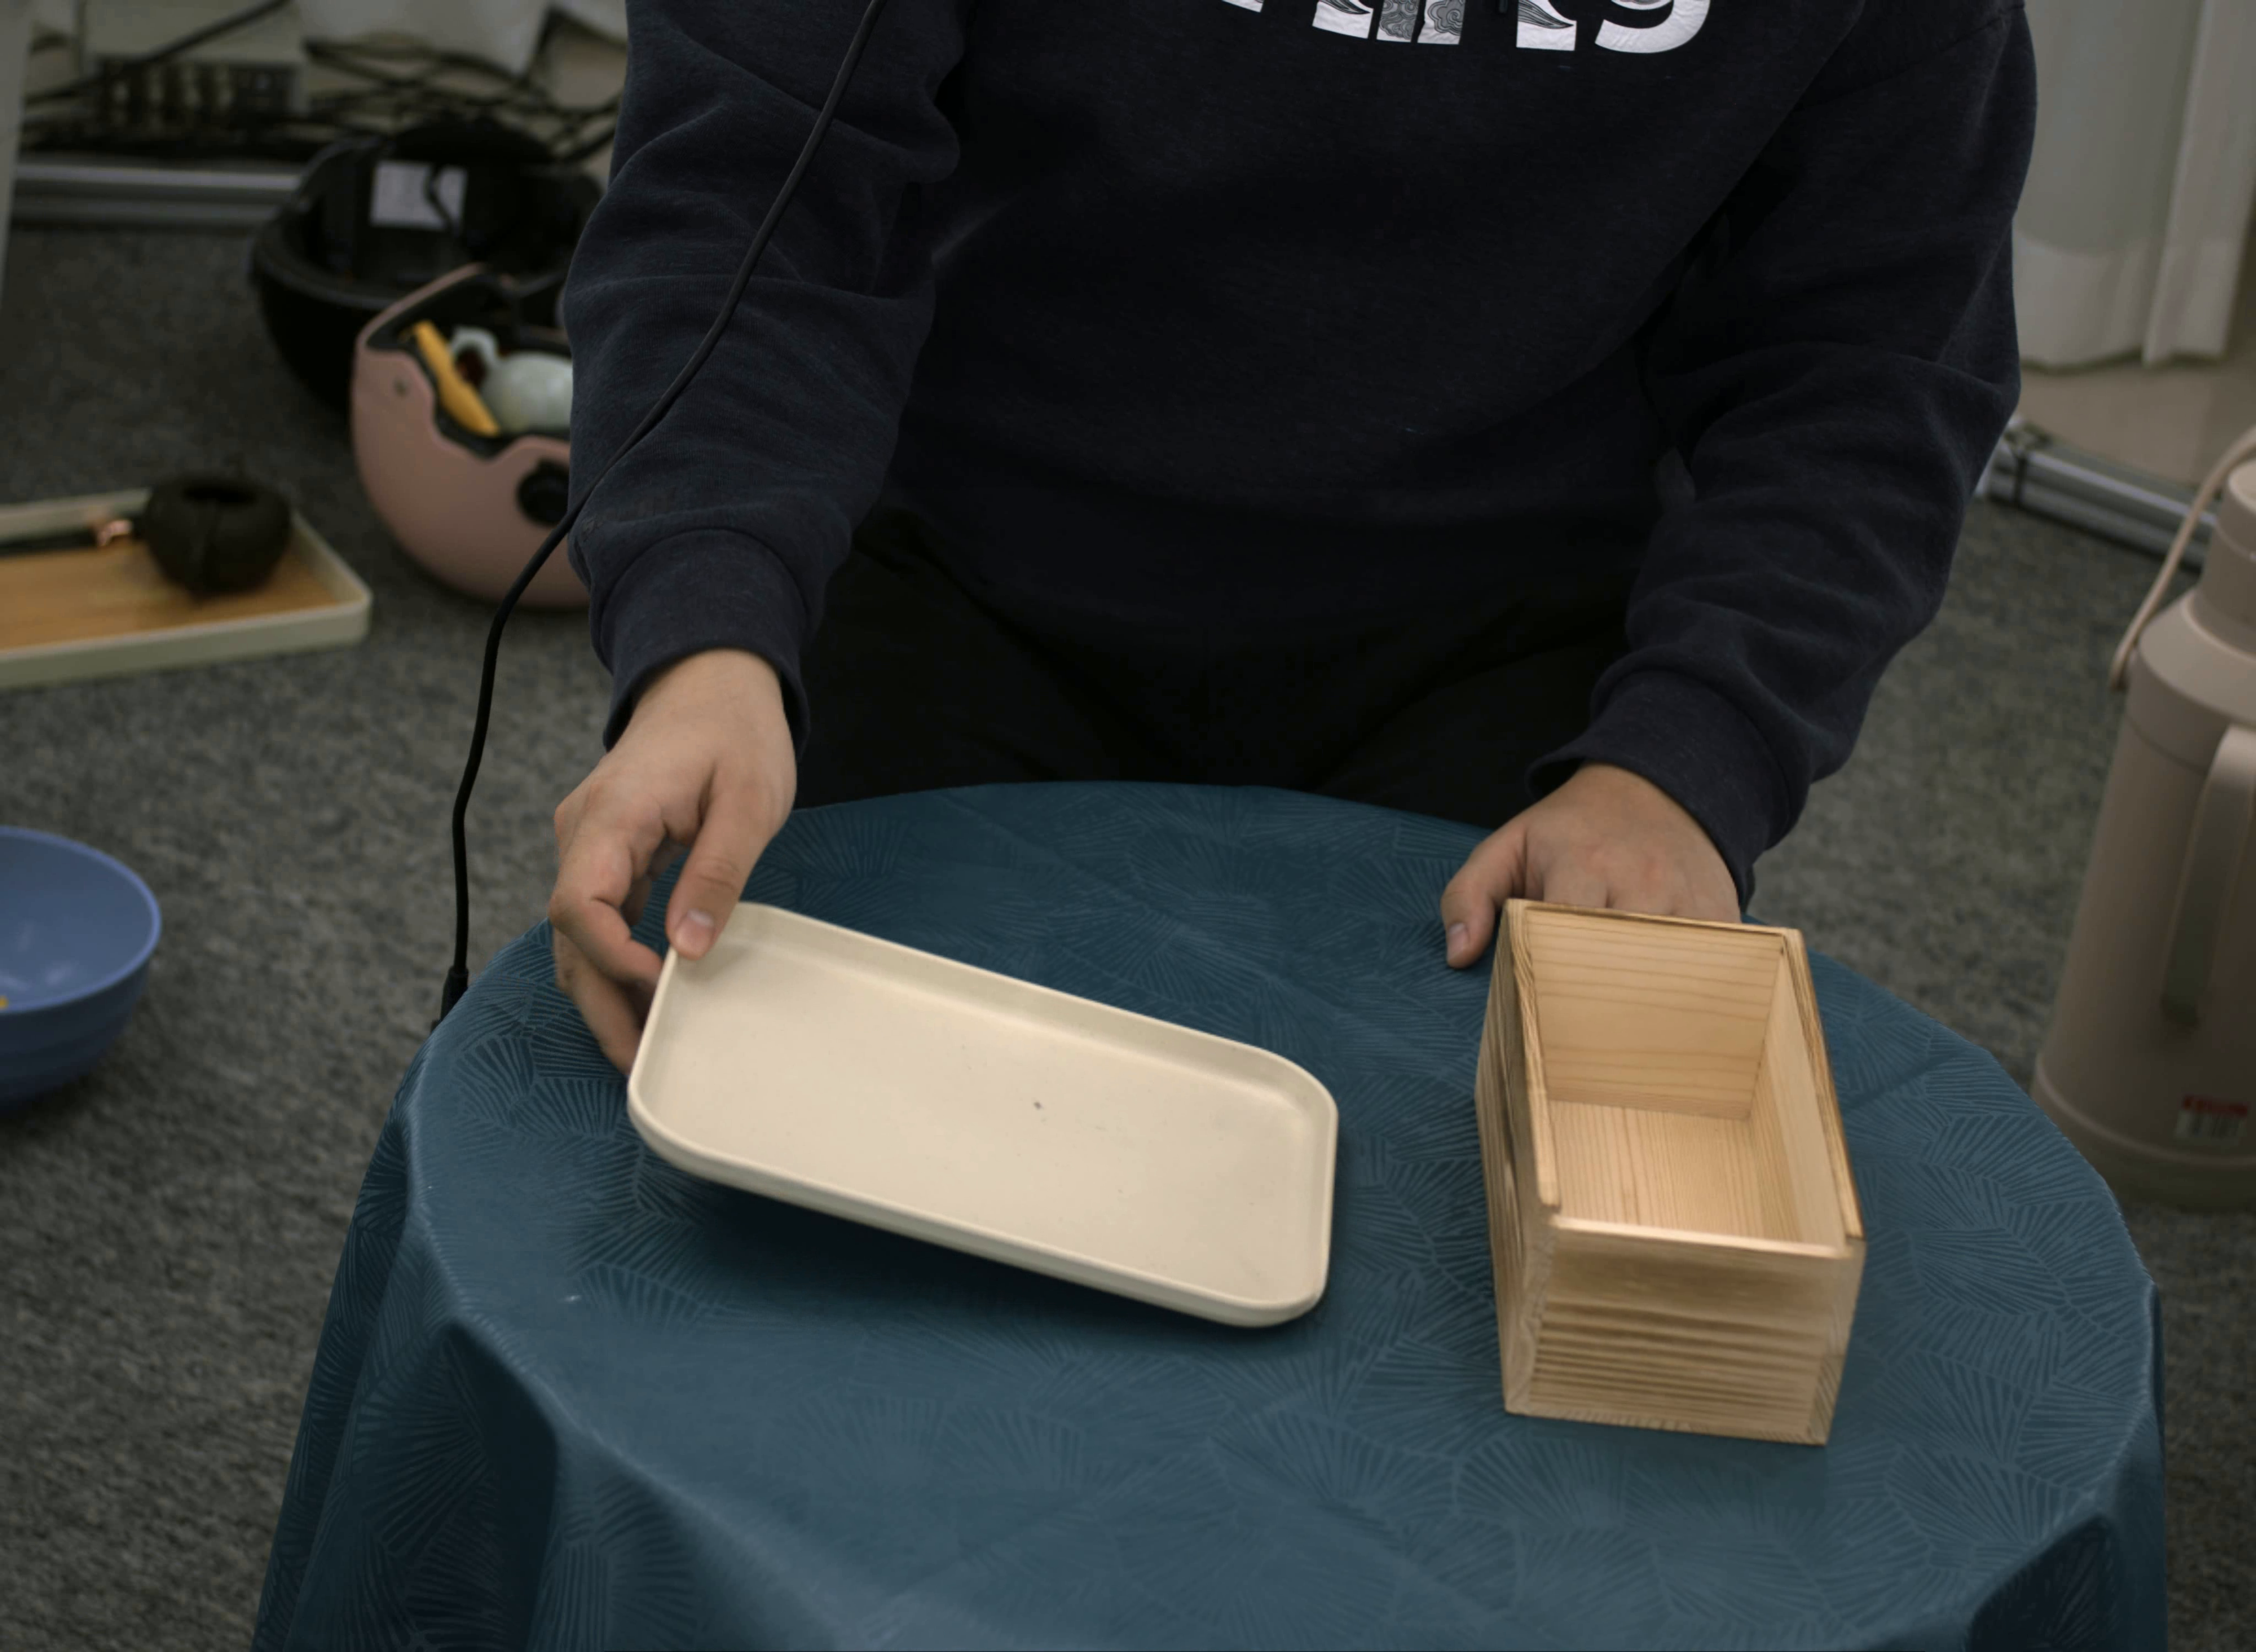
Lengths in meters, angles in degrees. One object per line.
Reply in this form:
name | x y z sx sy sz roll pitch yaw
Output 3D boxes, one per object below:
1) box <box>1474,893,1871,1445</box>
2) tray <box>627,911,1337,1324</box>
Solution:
box | 0.178 0.112 1.784 0.107 0.080 0.212 6 27 -3
tray | -0.047 0.098 1.791 0.239 0.017 0.172 15 26 -3
